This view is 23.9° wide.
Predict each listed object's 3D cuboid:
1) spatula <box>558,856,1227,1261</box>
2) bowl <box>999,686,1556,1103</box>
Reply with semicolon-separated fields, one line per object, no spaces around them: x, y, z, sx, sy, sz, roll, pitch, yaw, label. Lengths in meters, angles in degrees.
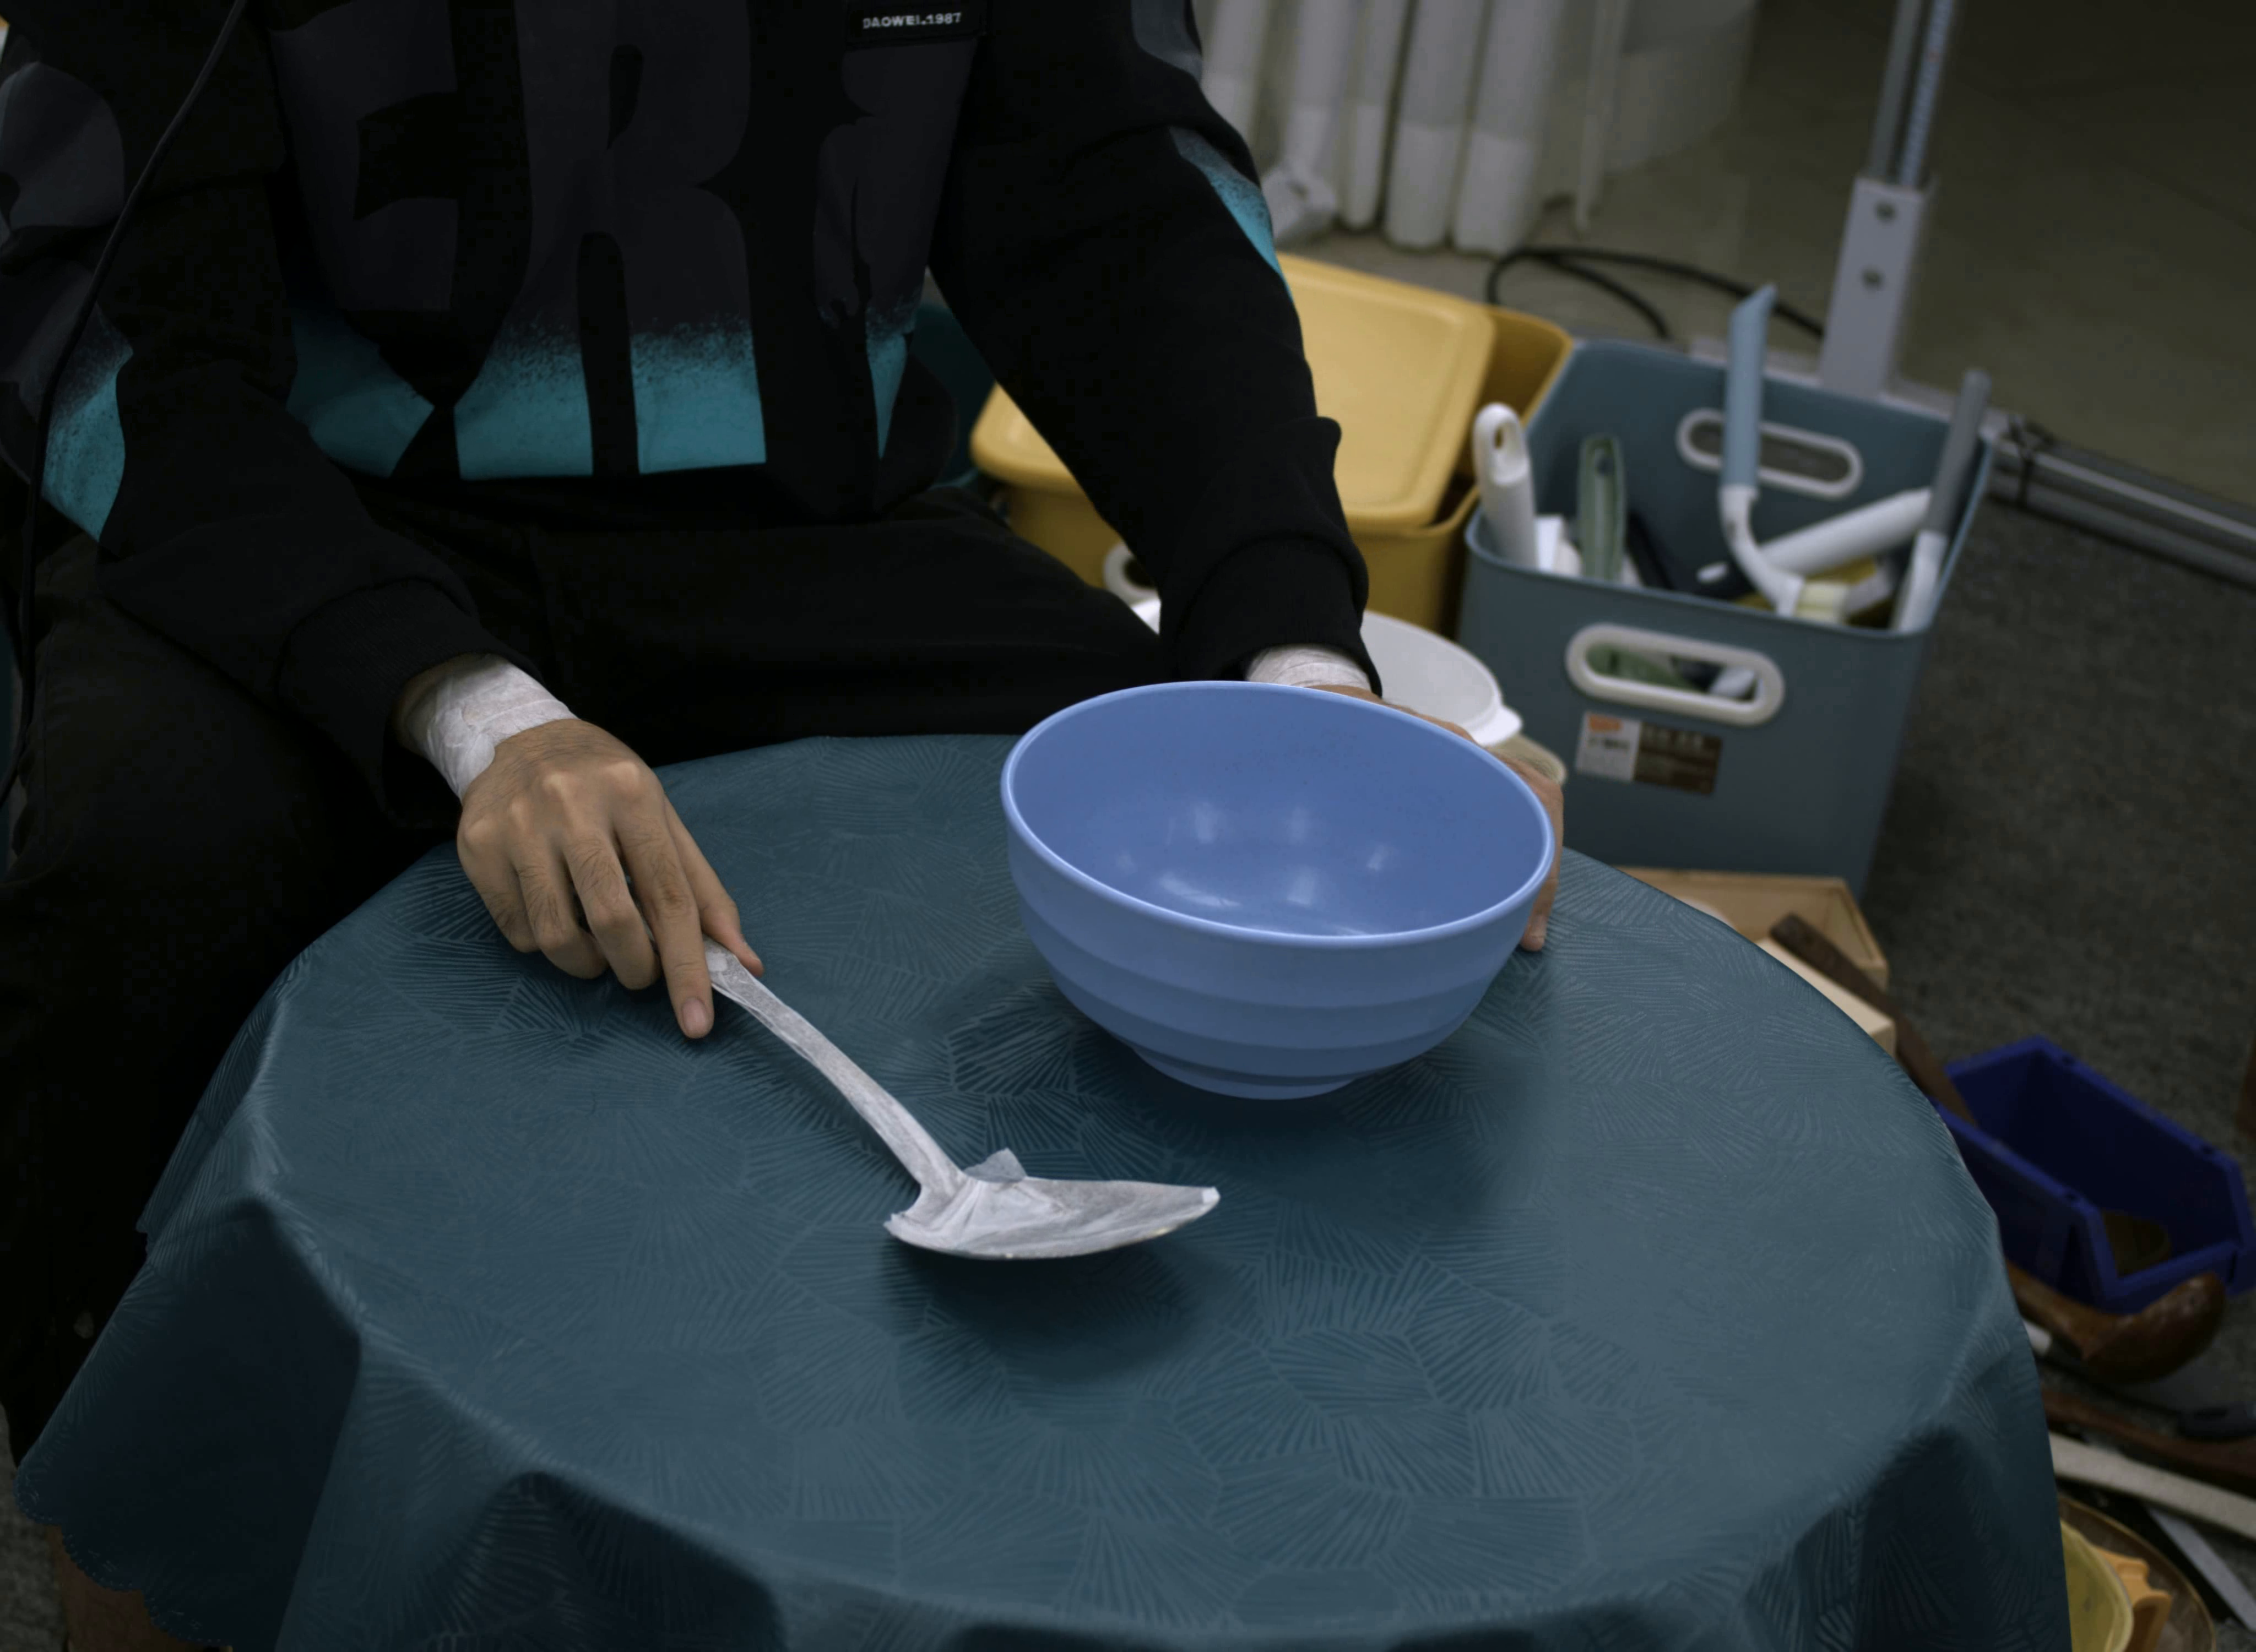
-0.104;0.073;1.835;0.098;0.044;0.368;-13;33;-34;spatula
0.049;0.034;1.884;0.196;0.095;0.198;4;27;-2;bowl
